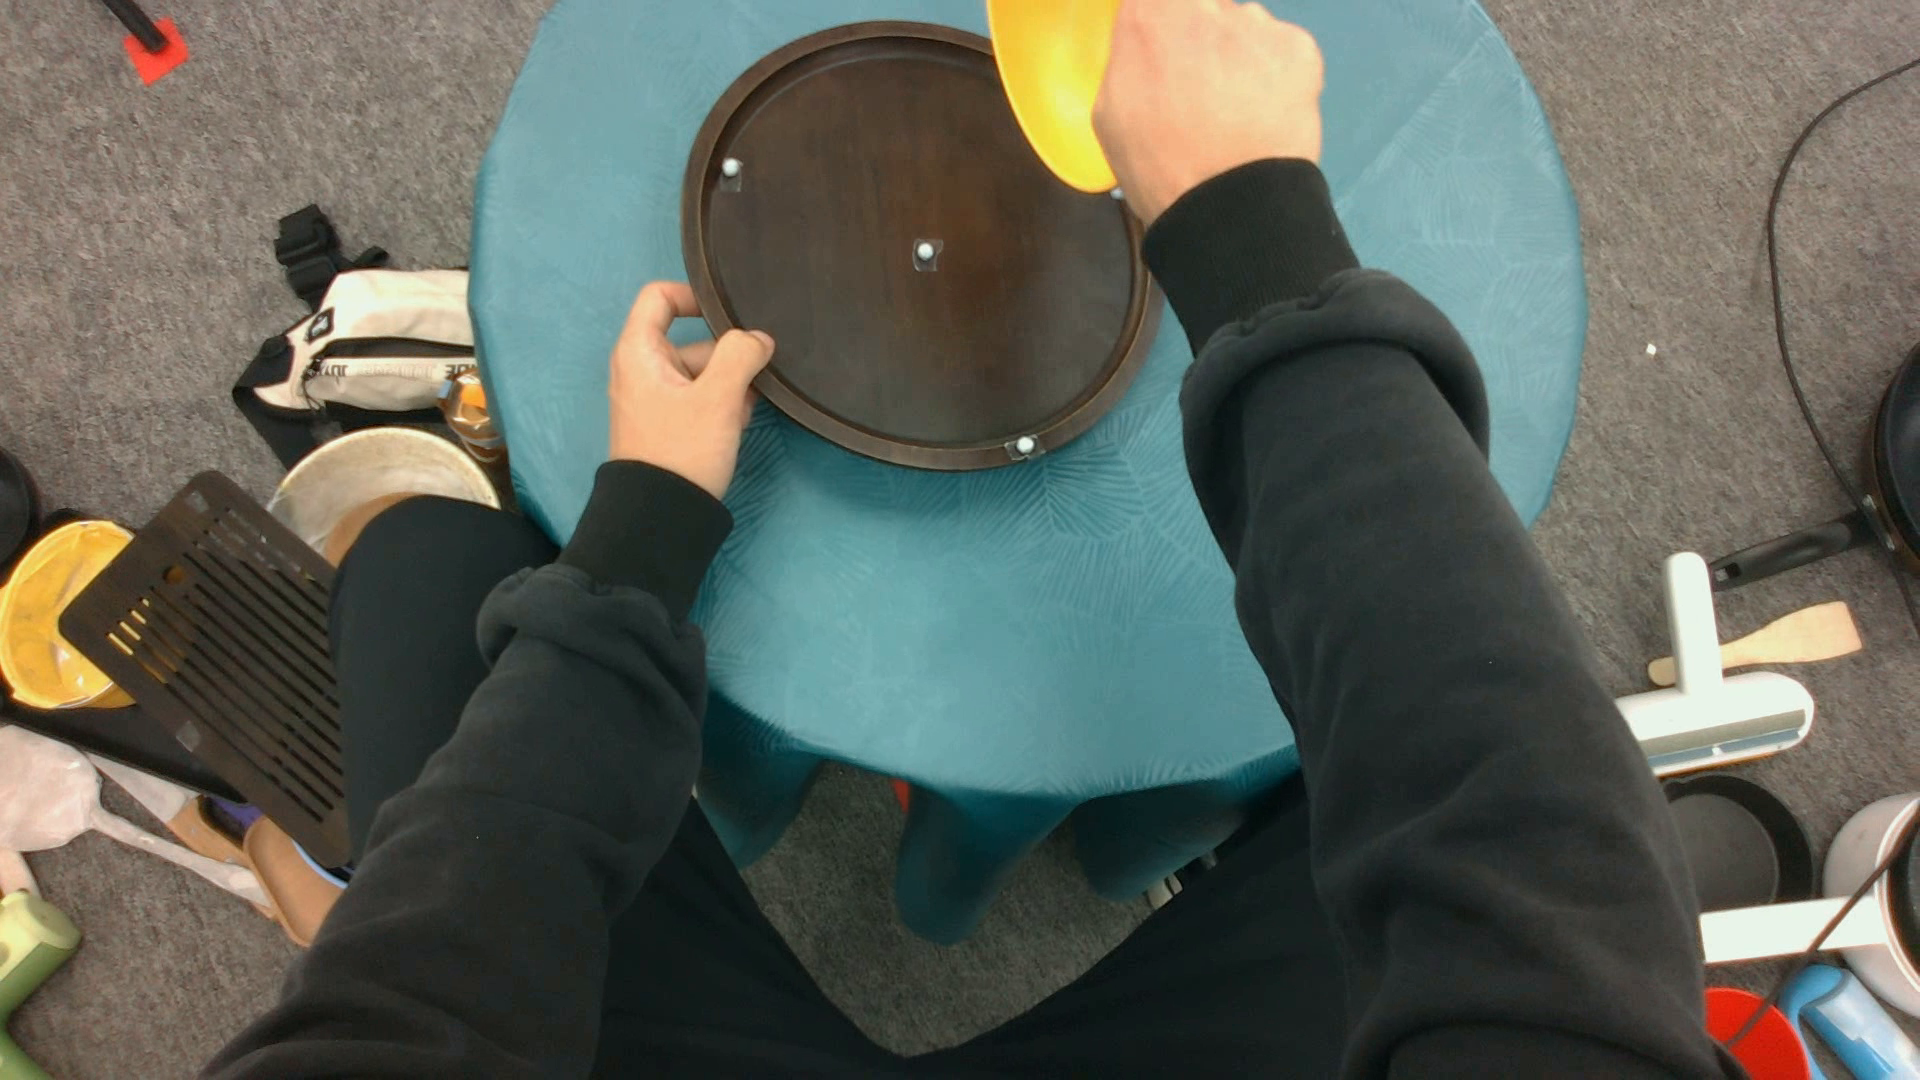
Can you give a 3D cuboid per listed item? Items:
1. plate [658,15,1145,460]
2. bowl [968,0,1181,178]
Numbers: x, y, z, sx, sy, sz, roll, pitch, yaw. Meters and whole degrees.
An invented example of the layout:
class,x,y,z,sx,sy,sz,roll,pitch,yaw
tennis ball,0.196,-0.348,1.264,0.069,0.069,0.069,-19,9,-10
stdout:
class,x,y,z,sx,sy,sz,roll,pitch,yaw
plate,-0.026,-0.158,0.705,0.255,0.029,0.255,5,72,-16
bowl,0.059,-0.246,0.634,0.060,0.145,0.145,-21,78,-17
